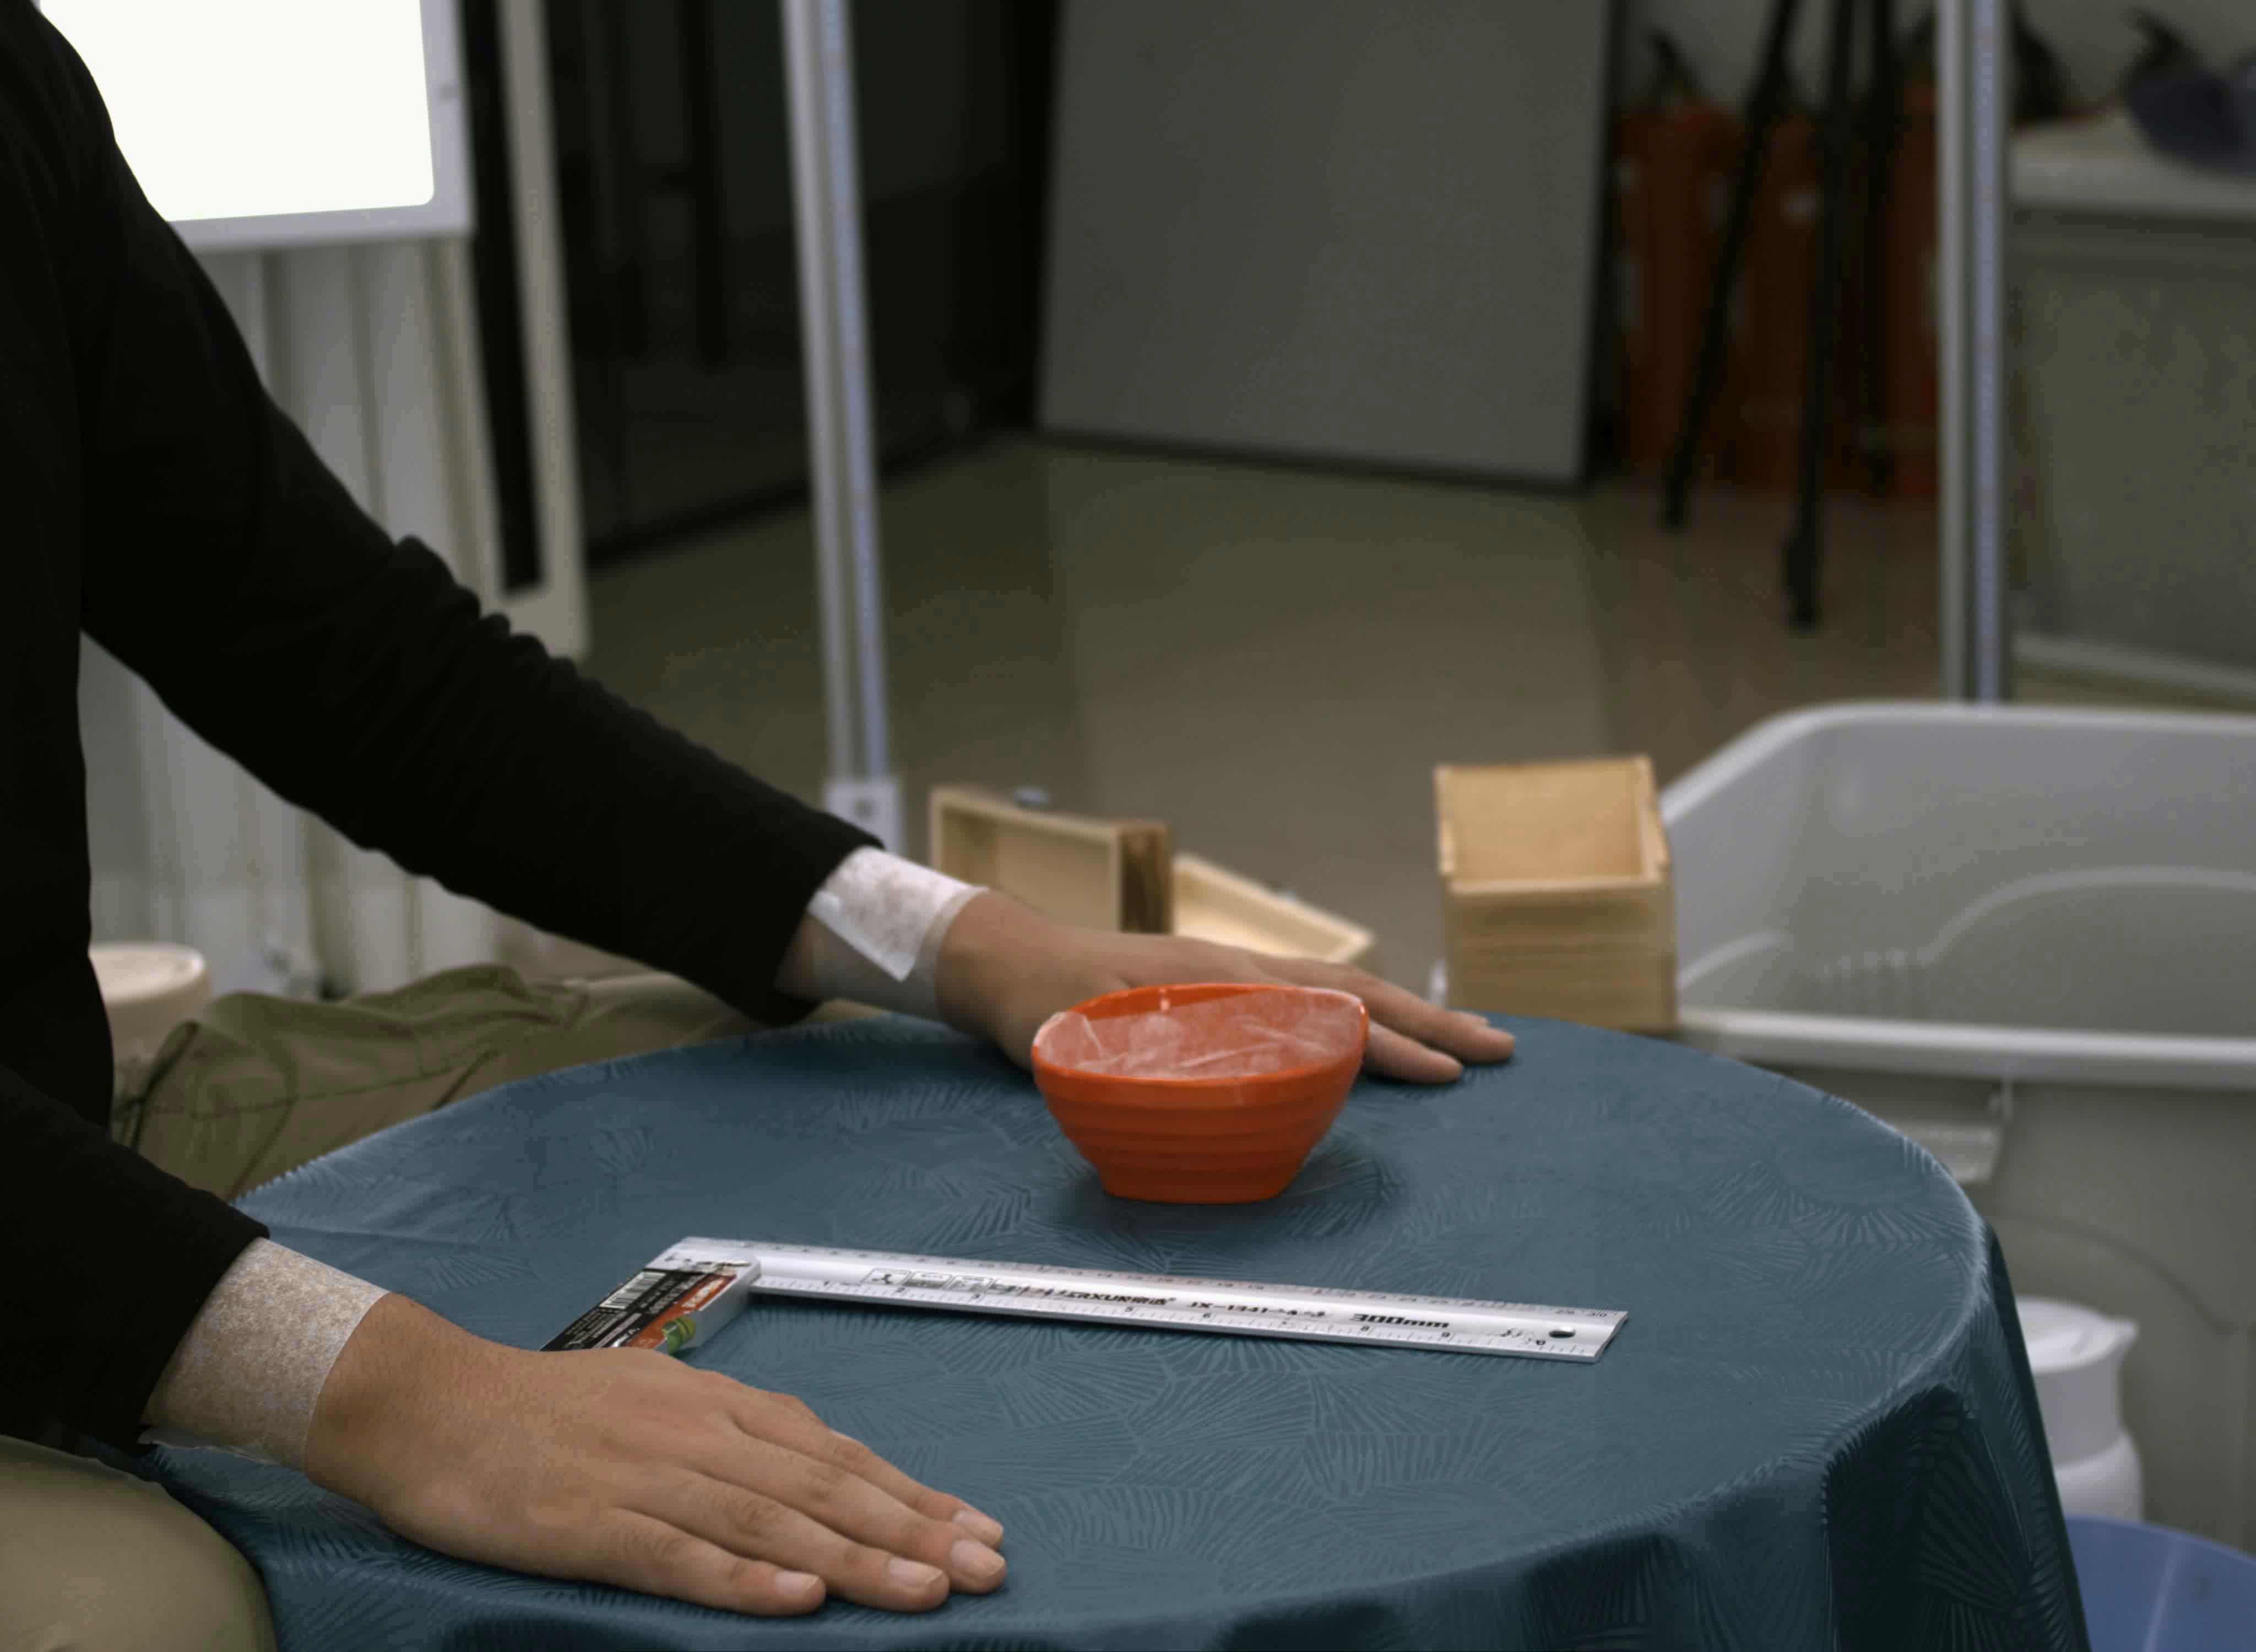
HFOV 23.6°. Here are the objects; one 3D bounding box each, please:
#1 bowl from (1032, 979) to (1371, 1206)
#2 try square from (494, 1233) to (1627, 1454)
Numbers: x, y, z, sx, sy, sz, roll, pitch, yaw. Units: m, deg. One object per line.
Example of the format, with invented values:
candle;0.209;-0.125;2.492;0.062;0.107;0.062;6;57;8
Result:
bowl;0.026;0.090;1.778;0.117;0.052;0.119;-4;15;0
try square;-0.019;0.161;1.609;0.312;0.016;0.151;2;19;21
